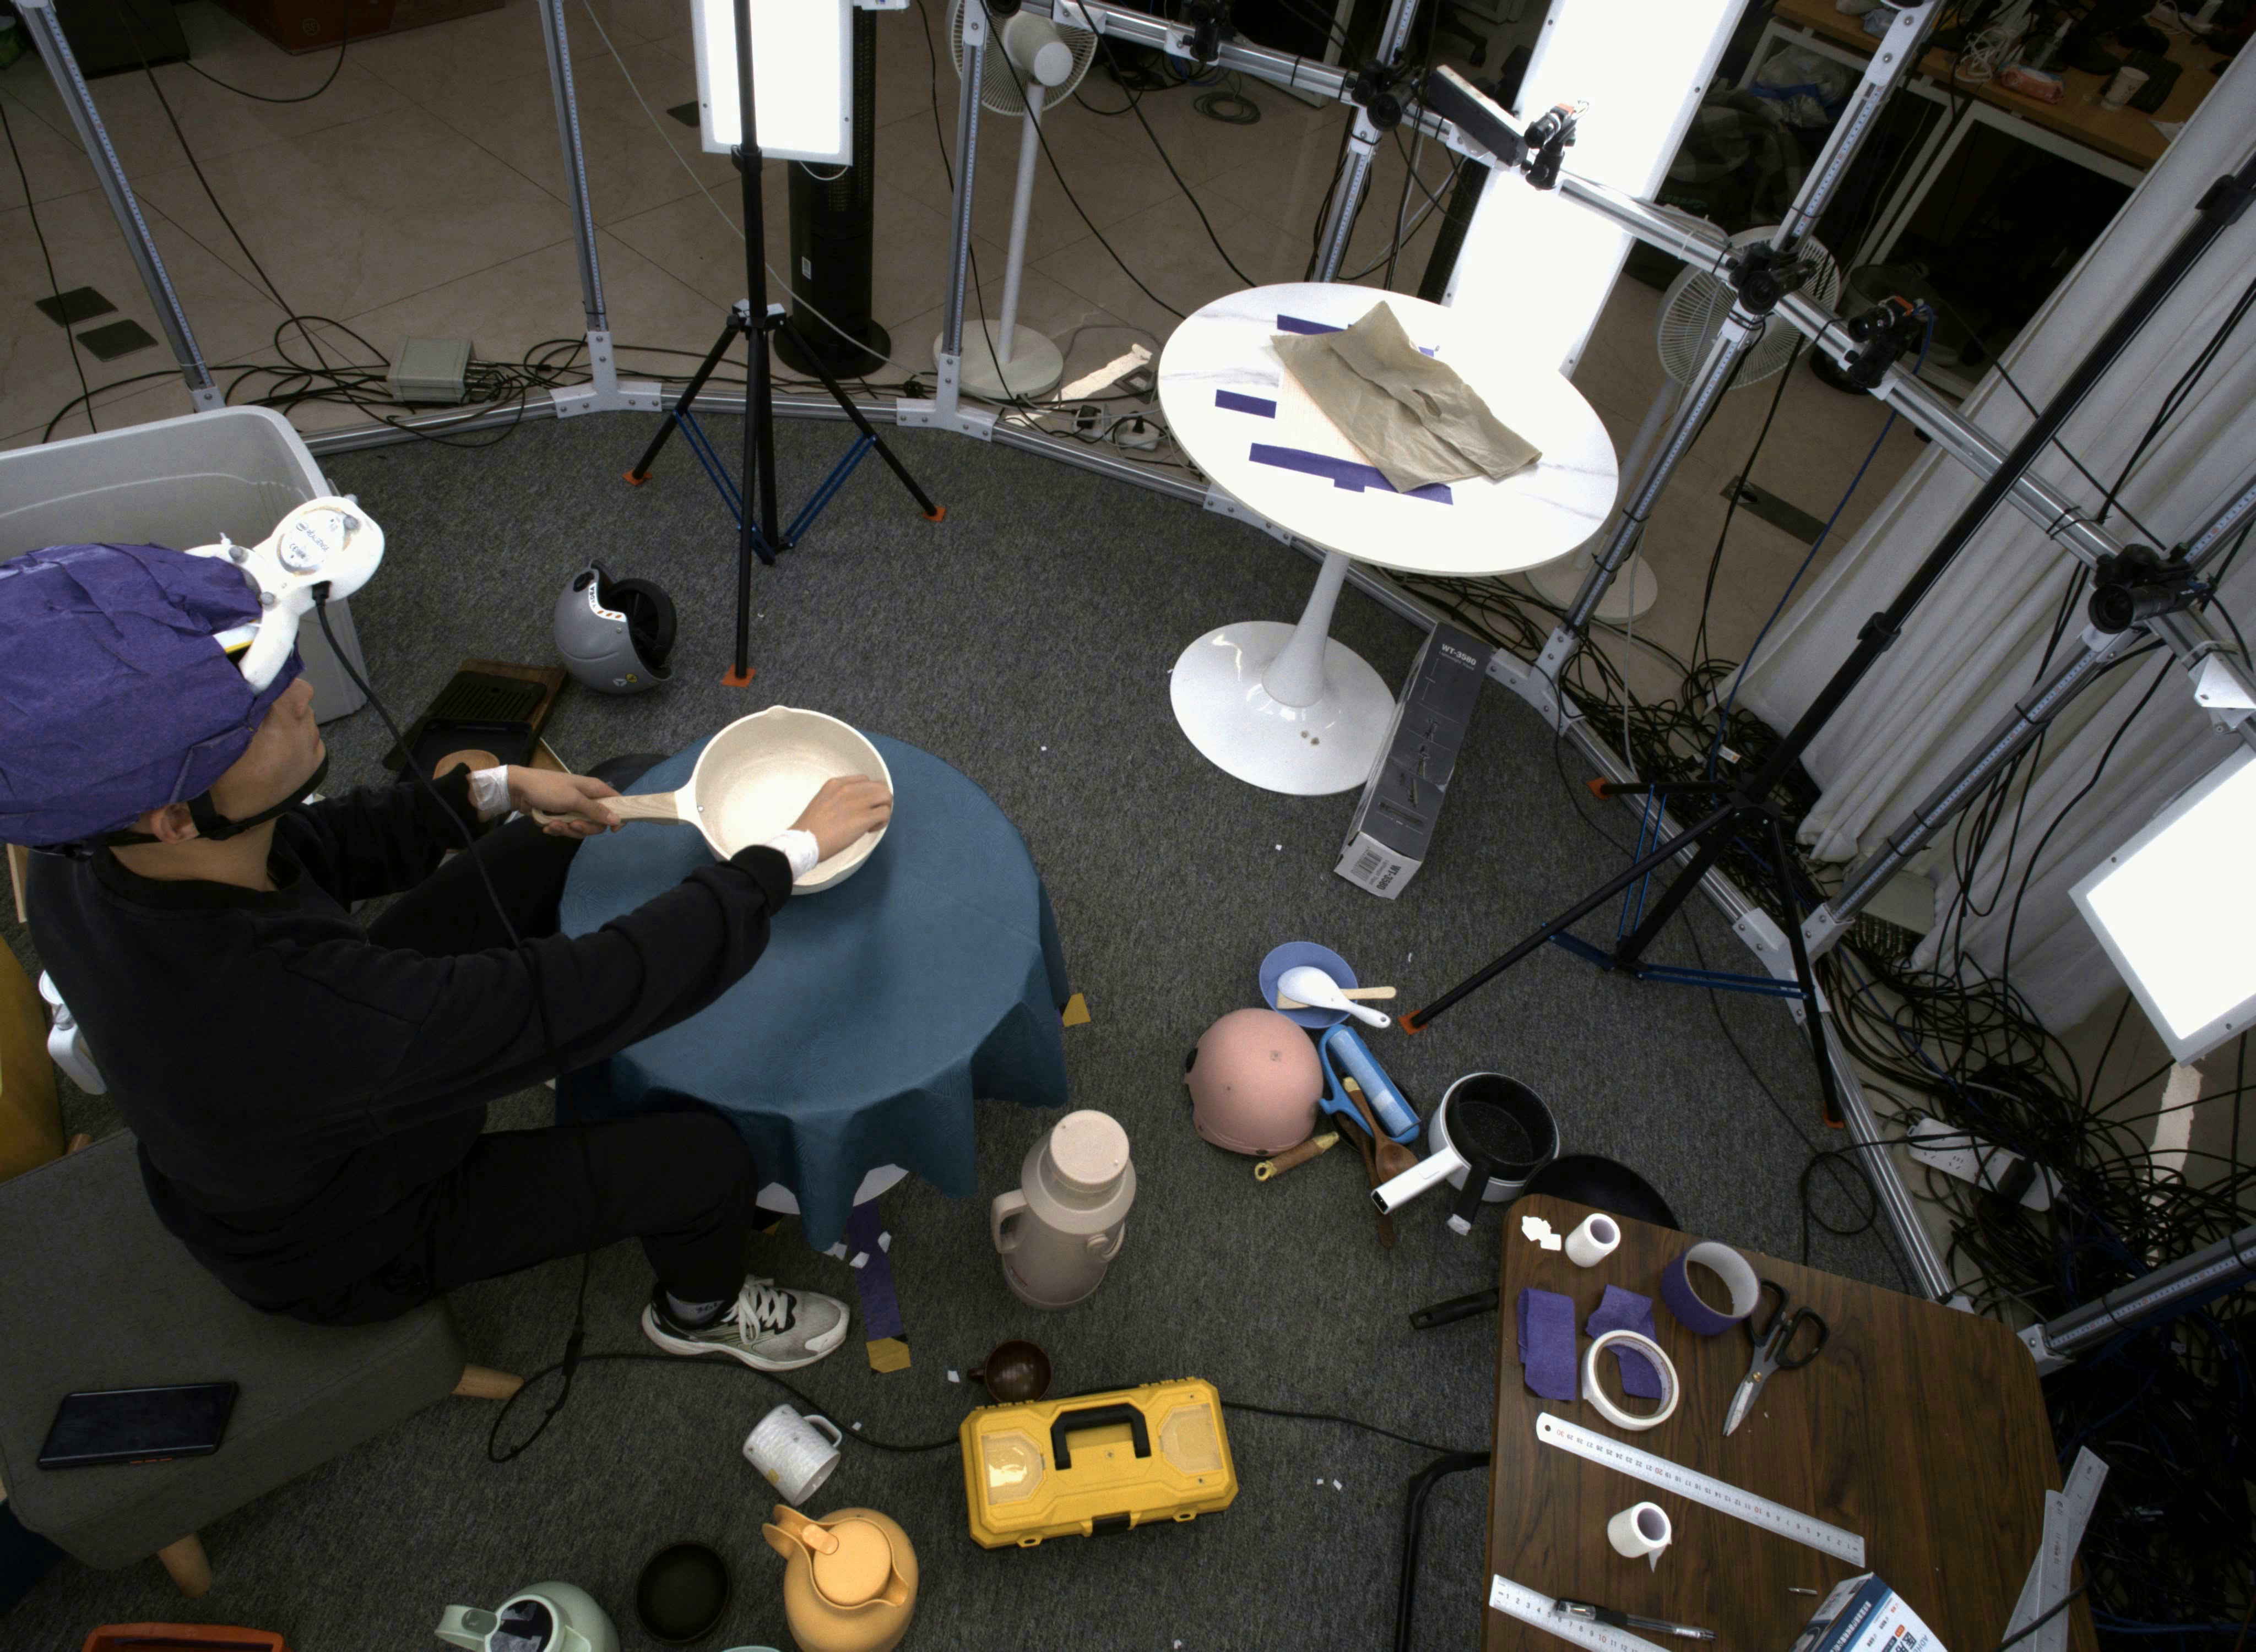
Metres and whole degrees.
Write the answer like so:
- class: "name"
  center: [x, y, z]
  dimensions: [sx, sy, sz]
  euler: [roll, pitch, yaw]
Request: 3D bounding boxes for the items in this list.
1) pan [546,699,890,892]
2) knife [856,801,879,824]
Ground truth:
- class: "pan"
  center: [-0.518, -0.022, 1.624]
  dimensions: [0.437, 0.102, 0.260]
  euler: [-8, 68, -23]
- class: "knife"
  center: [-0.318, -0.022, 1.593]
  dimensions: [0.026, 0.222, 0.017]
  euler: [-22, 99, -5]
